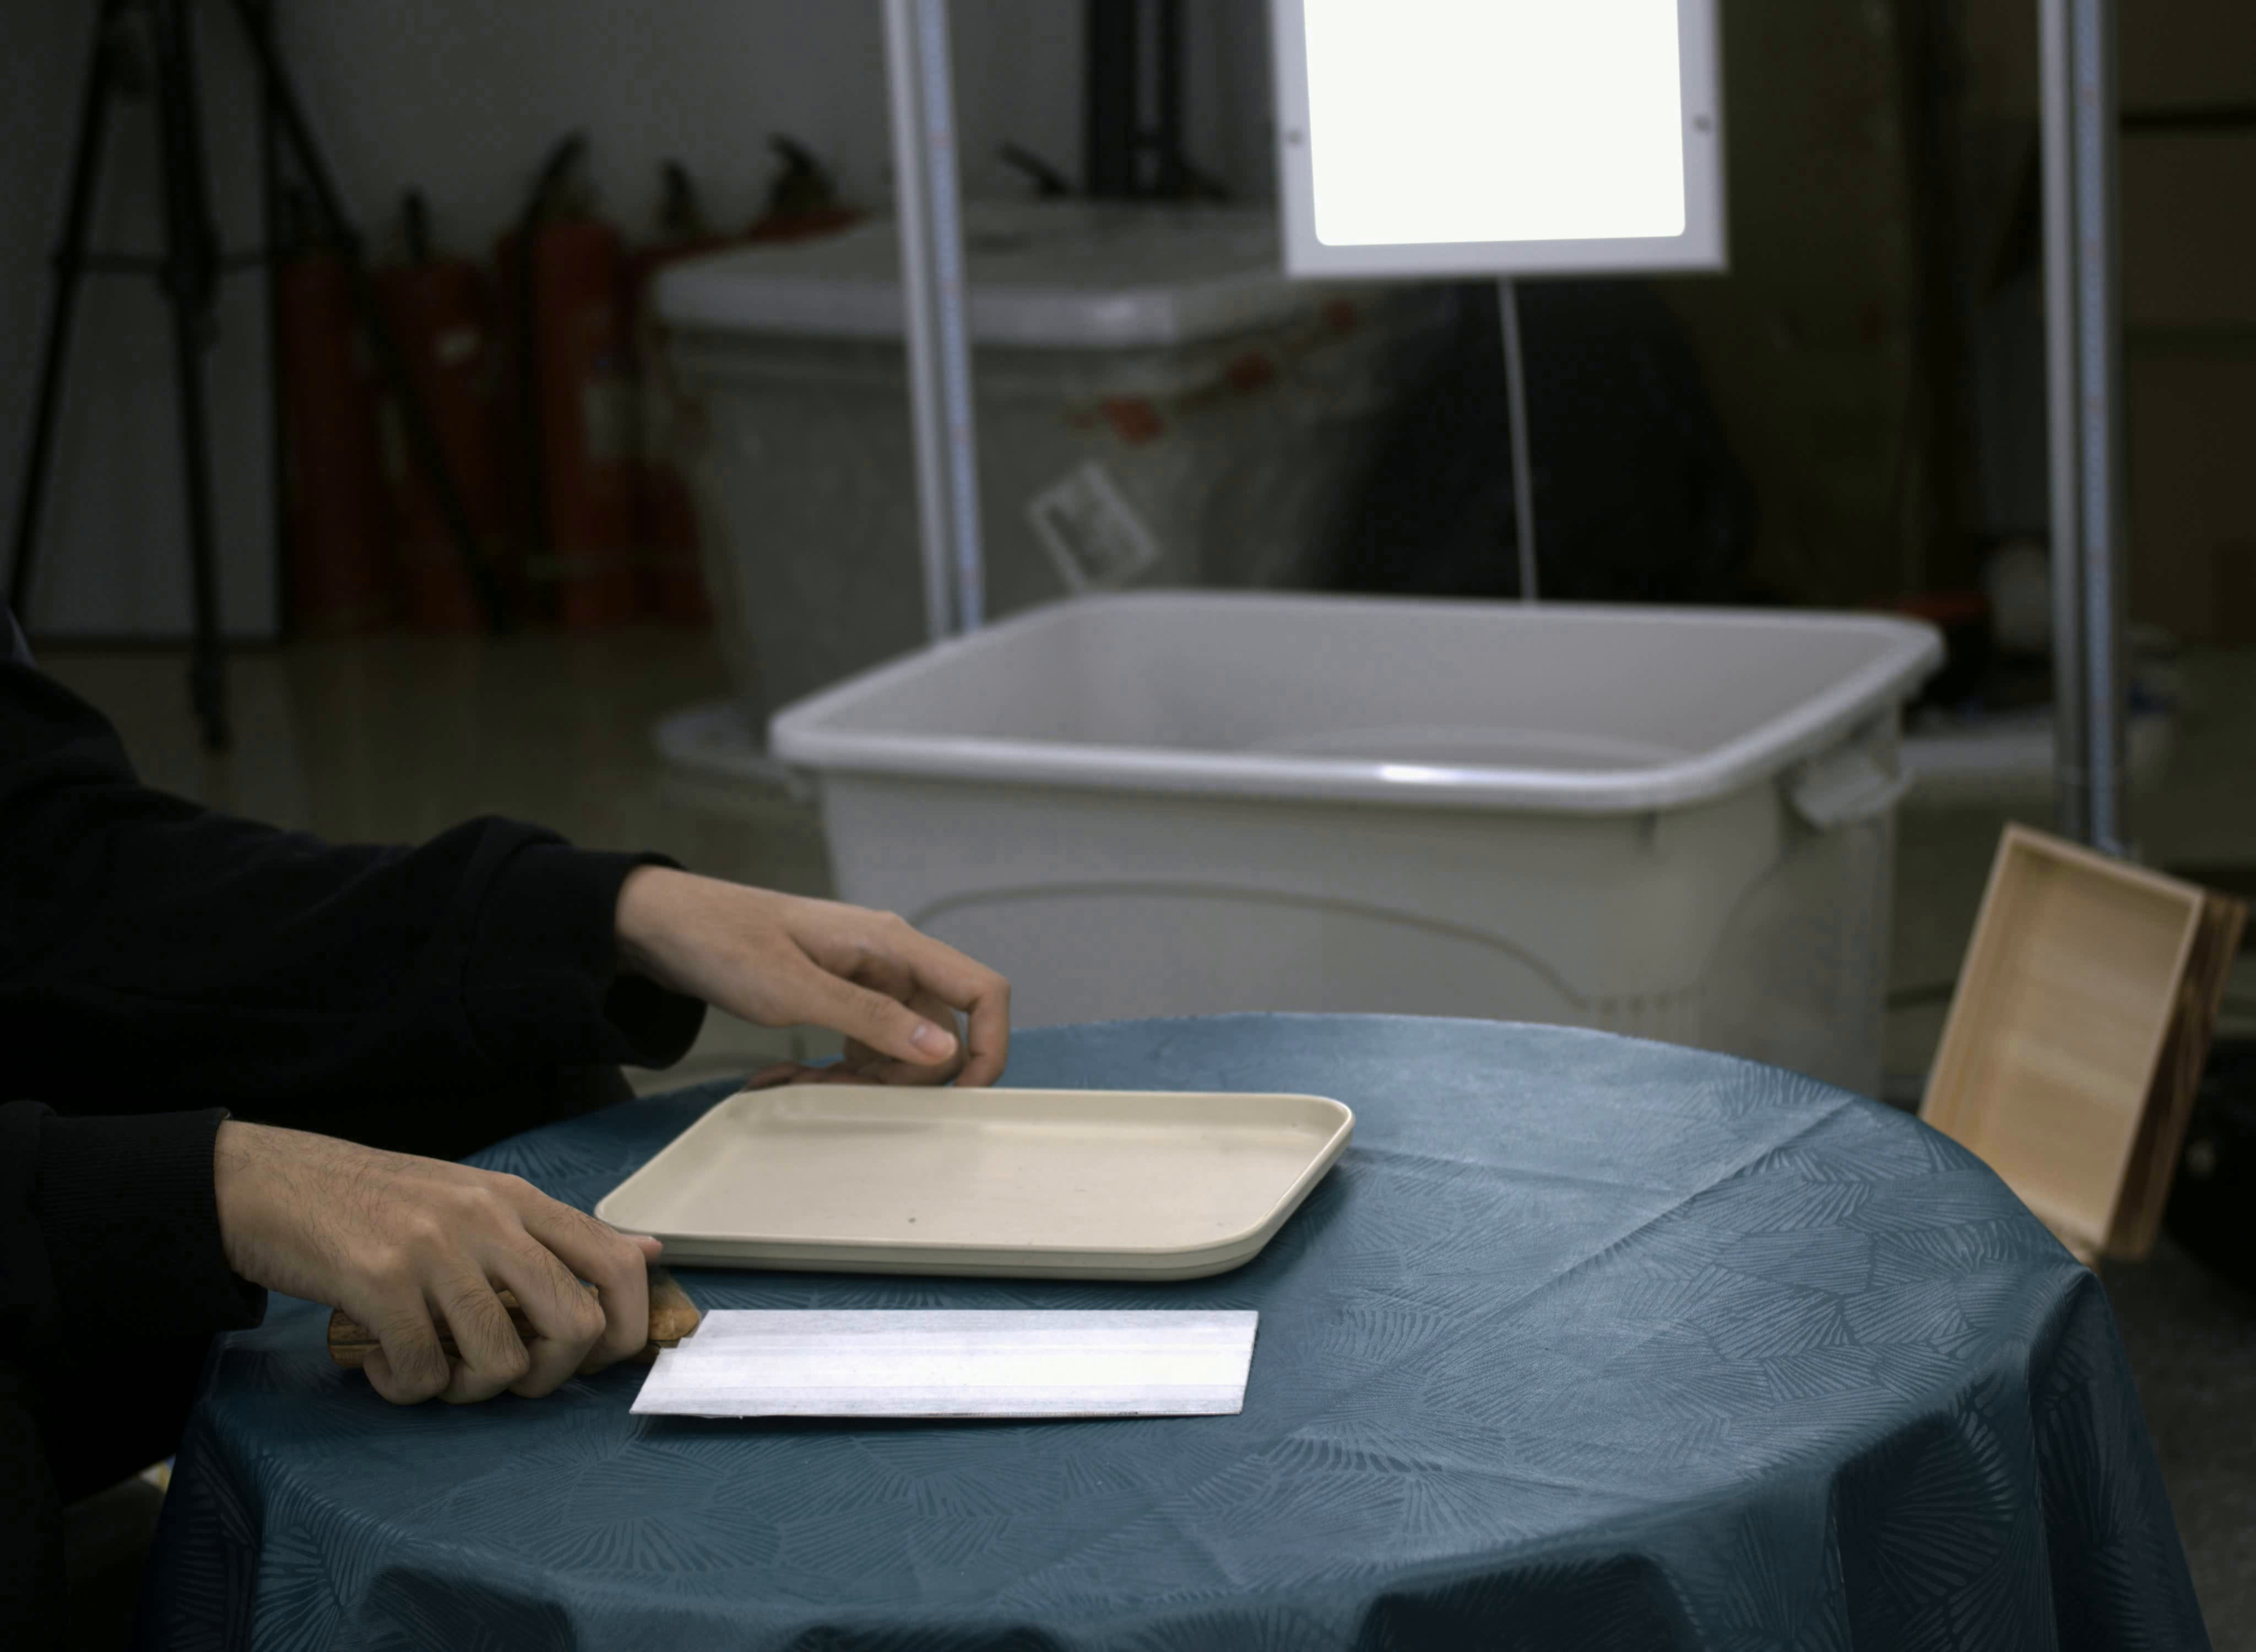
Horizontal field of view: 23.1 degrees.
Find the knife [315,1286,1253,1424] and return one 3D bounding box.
[{"bbox_3d":[-0.112,0.168,1.737,0.307,0.021,0.092,-1,16,8],"label":"knife"}]

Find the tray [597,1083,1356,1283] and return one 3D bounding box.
[{"bbox_3d":[-0.050,0.122,1.892,0.243,0.017,0.168,0,16,20],"label":"tray"}]
